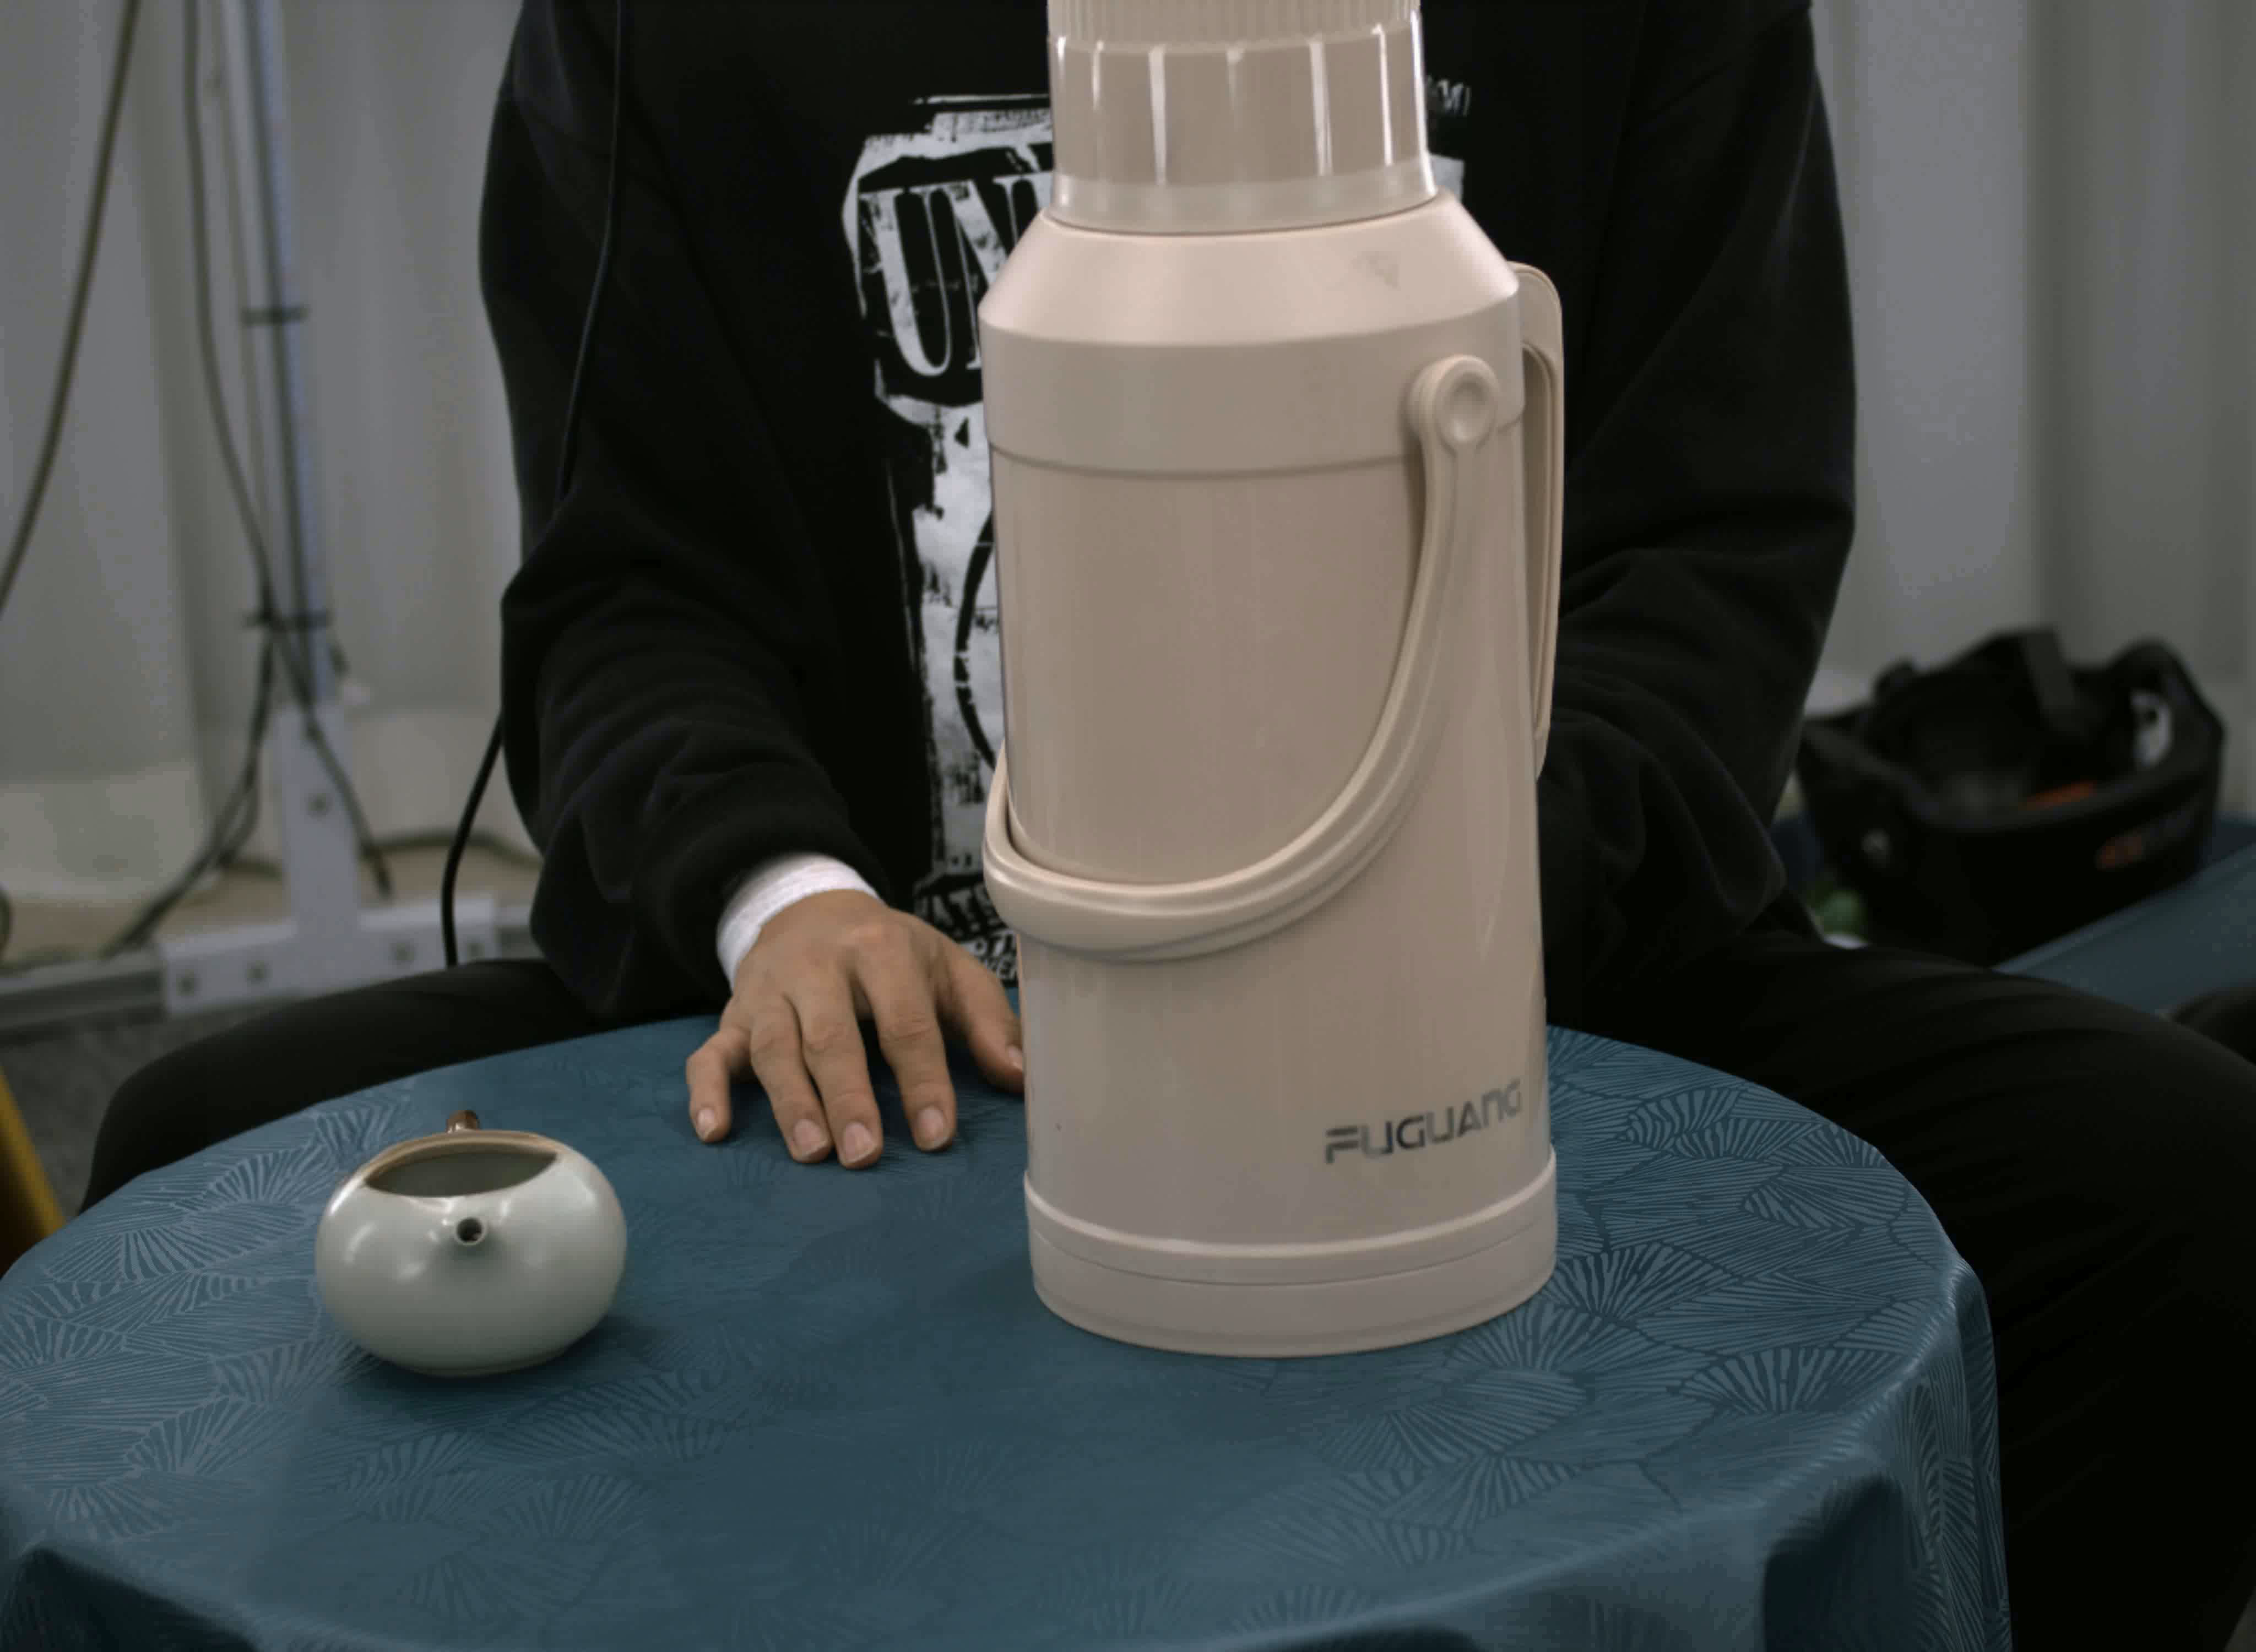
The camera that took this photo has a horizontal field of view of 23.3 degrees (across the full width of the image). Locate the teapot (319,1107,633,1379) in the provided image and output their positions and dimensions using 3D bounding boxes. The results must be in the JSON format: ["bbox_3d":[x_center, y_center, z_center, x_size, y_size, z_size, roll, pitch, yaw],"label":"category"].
[{"bbox_3d":[-0.192,0.122,1.608,0.091,0.059,0.129,-9,16,-7],"label":"teapot"}]

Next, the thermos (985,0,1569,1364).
[{"bbox_3d":[0.053,-0.061,1.600,0.206,0.405,0.176,-15,17,-40],"label":"thermos"}]
